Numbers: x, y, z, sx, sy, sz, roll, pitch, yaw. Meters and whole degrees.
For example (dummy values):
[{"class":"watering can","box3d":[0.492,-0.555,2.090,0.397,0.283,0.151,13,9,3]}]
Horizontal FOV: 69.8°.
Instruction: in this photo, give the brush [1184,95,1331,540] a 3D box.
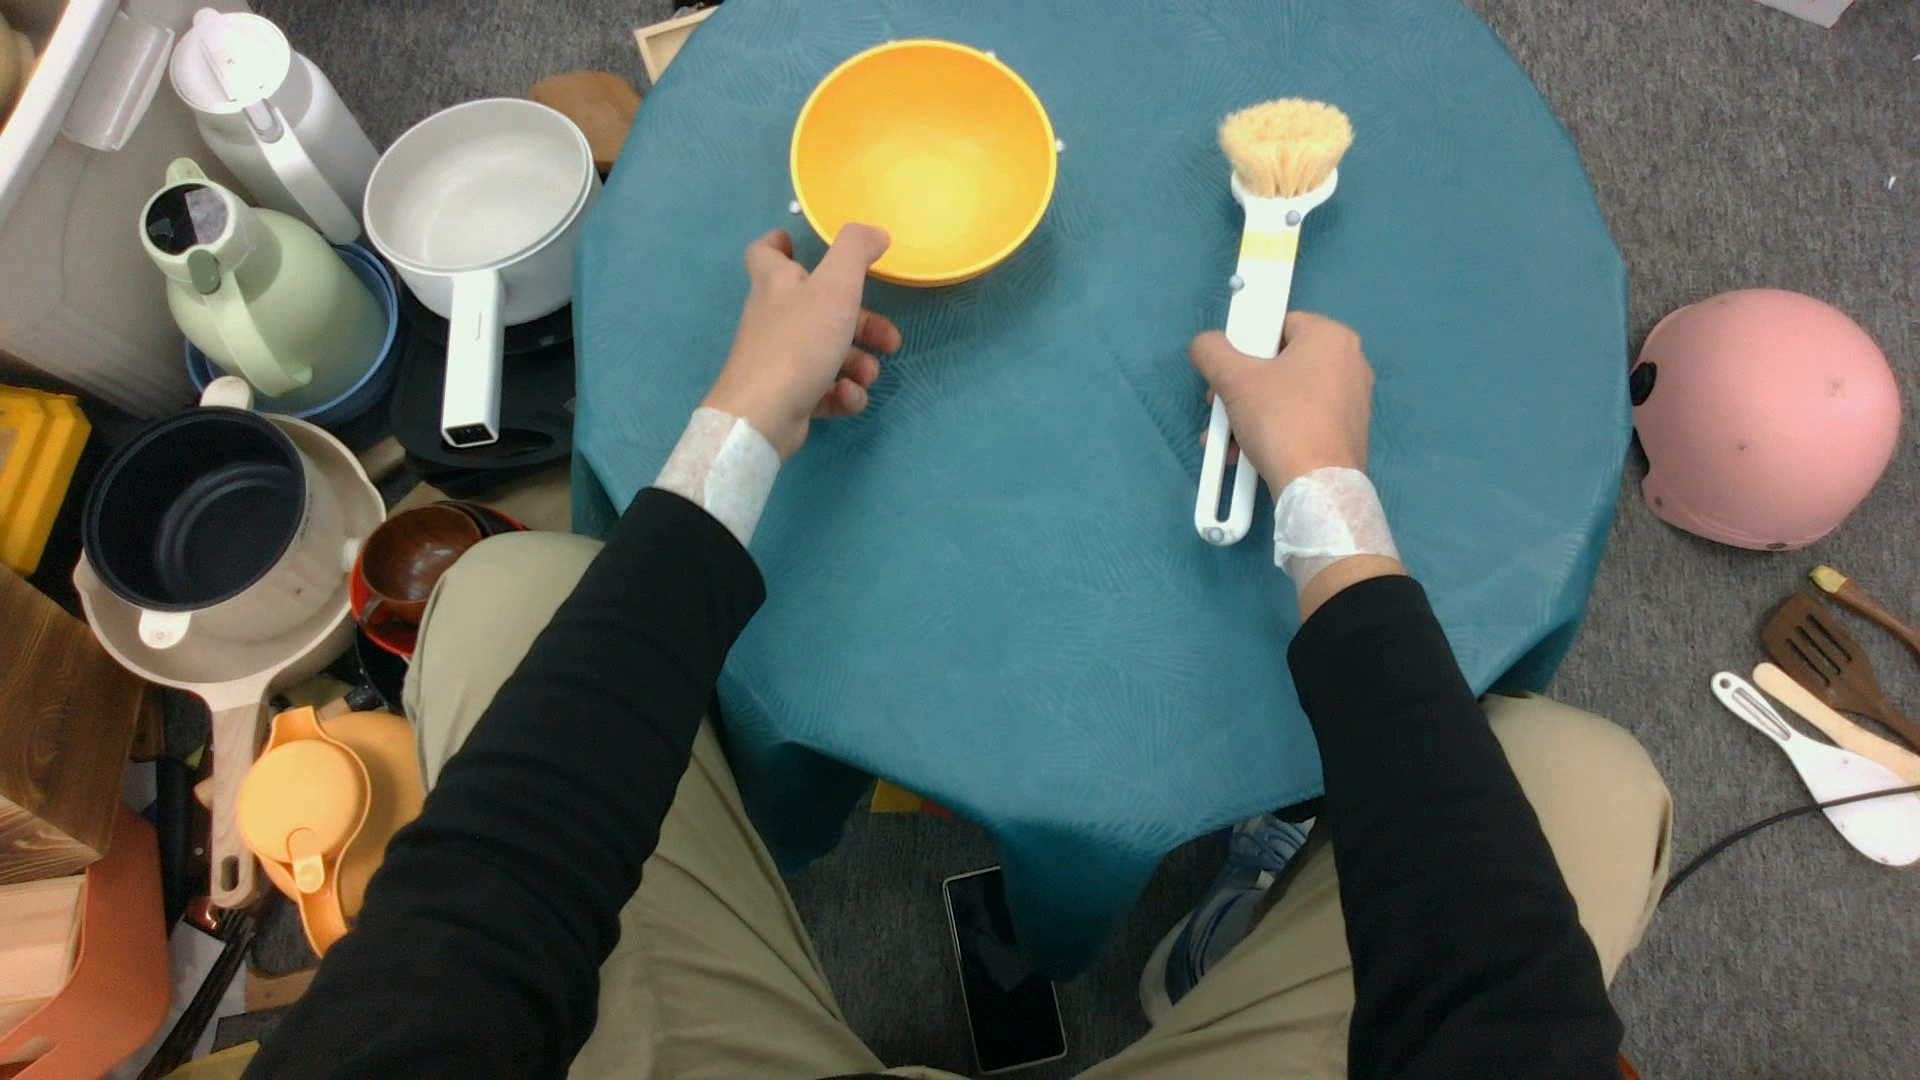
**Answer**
[{"class":"brush","box3d":[0.154,-0.131,0.747,0.068,0.056,0.267,5,68,25]}]

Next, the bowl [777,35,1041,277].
[{"class":"bowl","box3d":[-0.028,-0.206,0.778,0.145,0.060,0.145,0,76,0]}]
